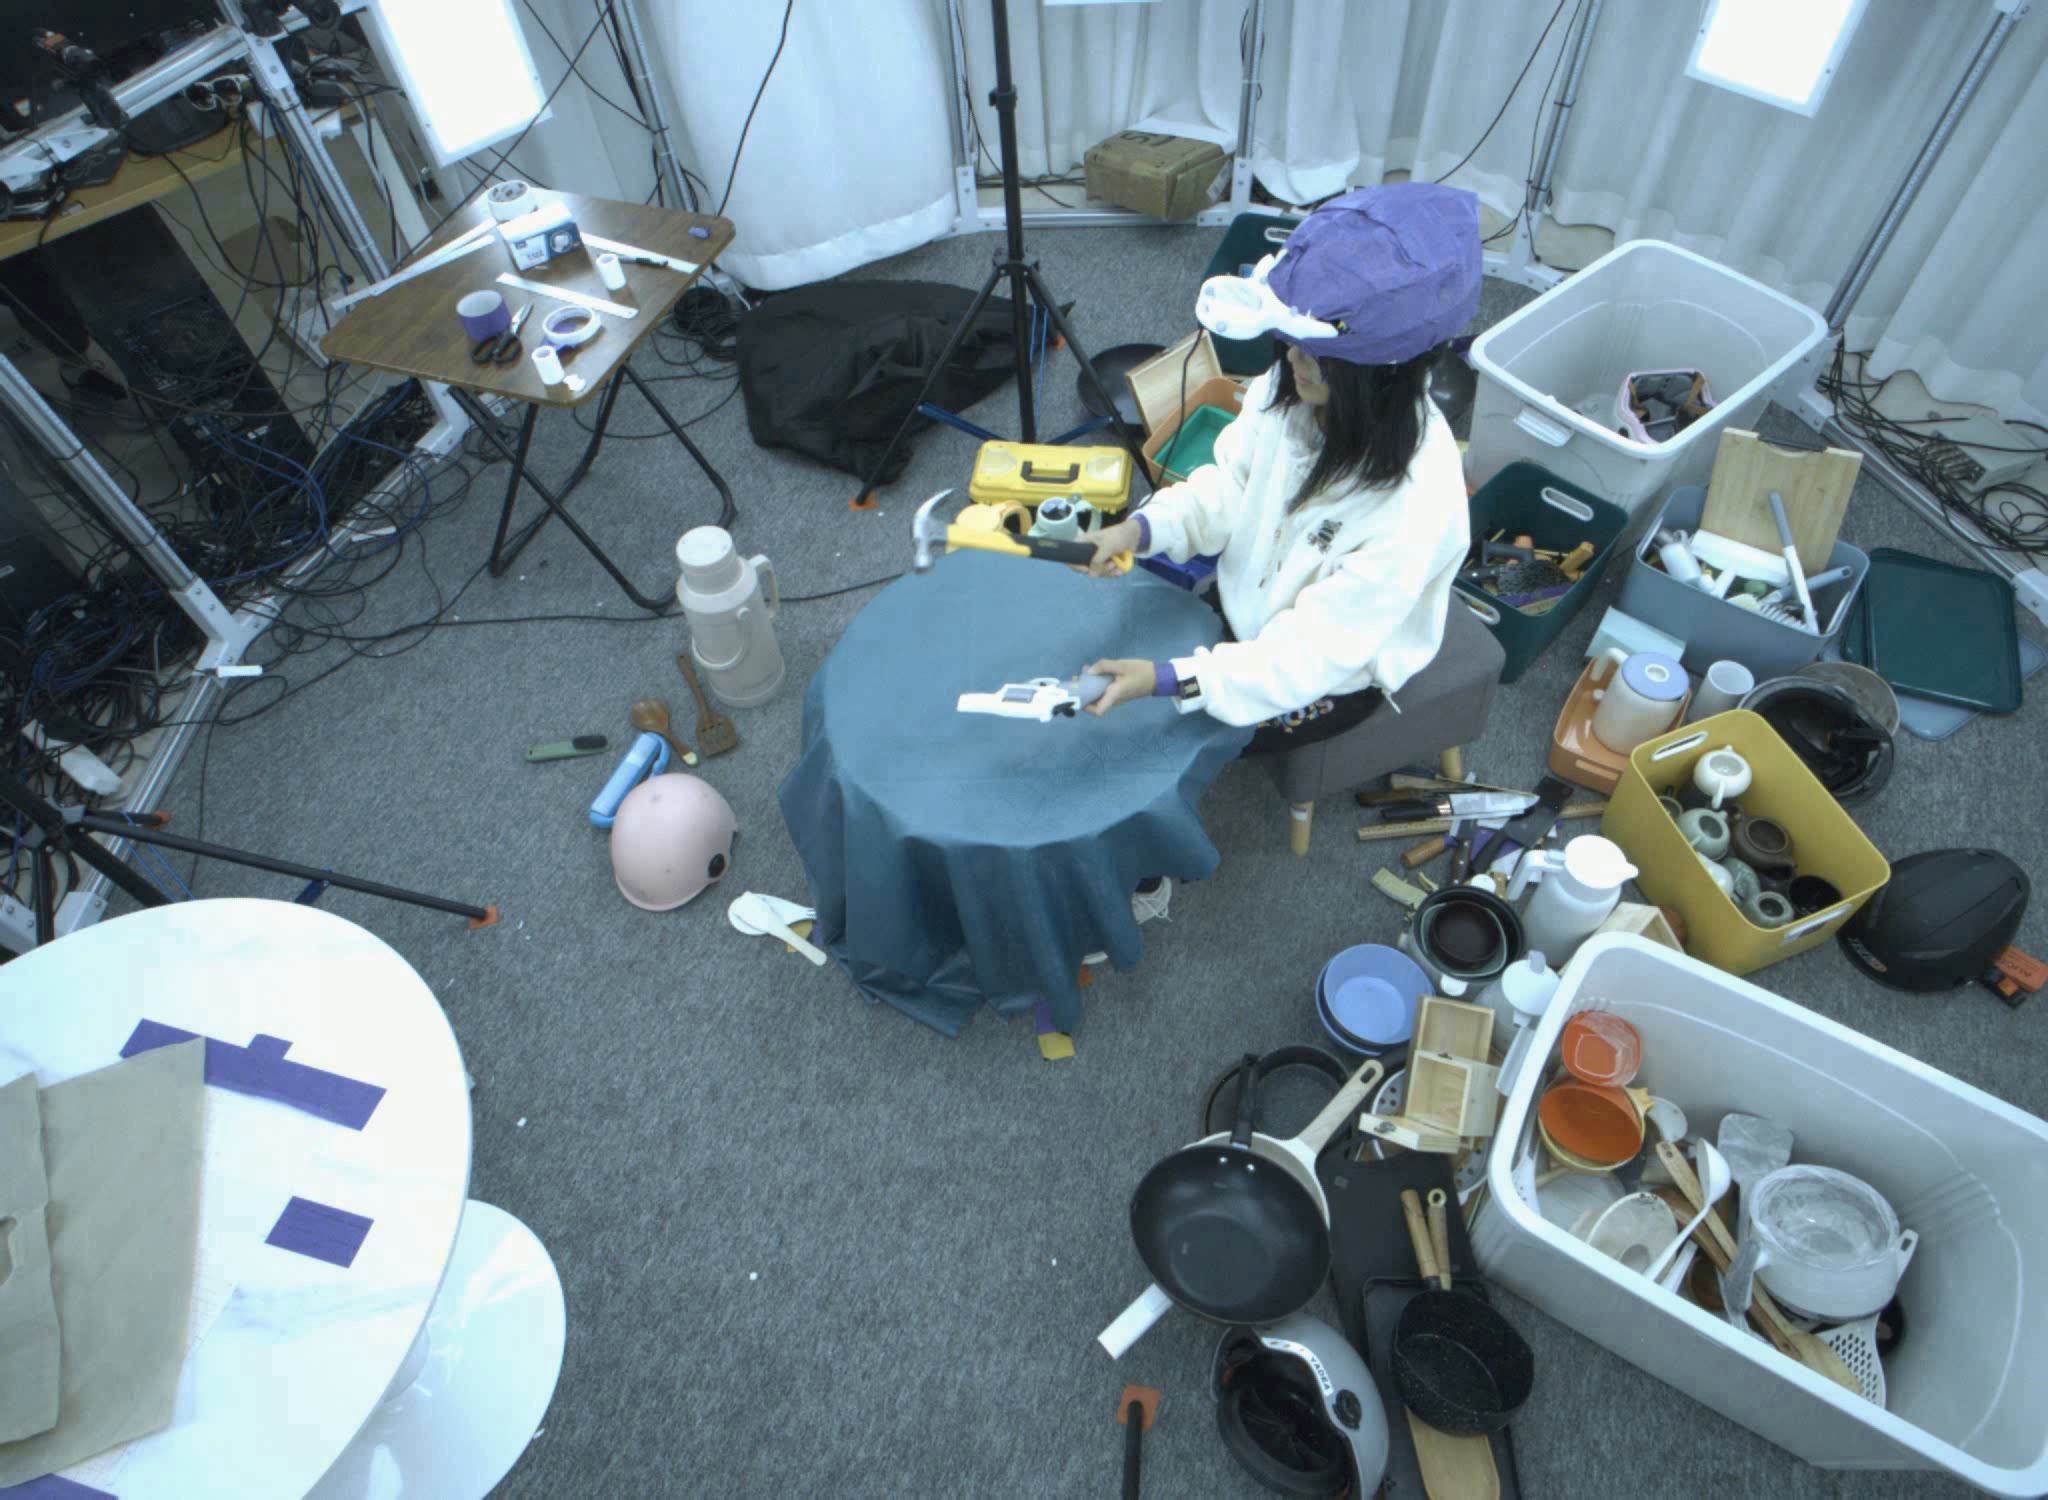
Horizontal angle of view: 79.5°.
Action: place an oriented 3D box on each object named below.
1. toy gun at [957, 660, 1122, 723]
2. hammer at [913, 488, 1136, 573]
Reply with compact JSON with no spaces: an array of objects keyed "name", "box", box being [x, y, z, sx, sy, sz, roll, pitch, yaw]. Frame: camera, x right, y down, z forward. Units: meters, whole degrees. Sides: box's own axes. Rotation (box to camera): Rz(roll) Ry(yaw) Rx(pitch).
[{"name":"toy gun","box":[0.023,-0.084,1.730,0.207,0.039,0.141,4,34,14]},{"name":"hammer","box":[0.006,-0.296,1.755,0.344,0.032,0.130,5,66,-23]}]
